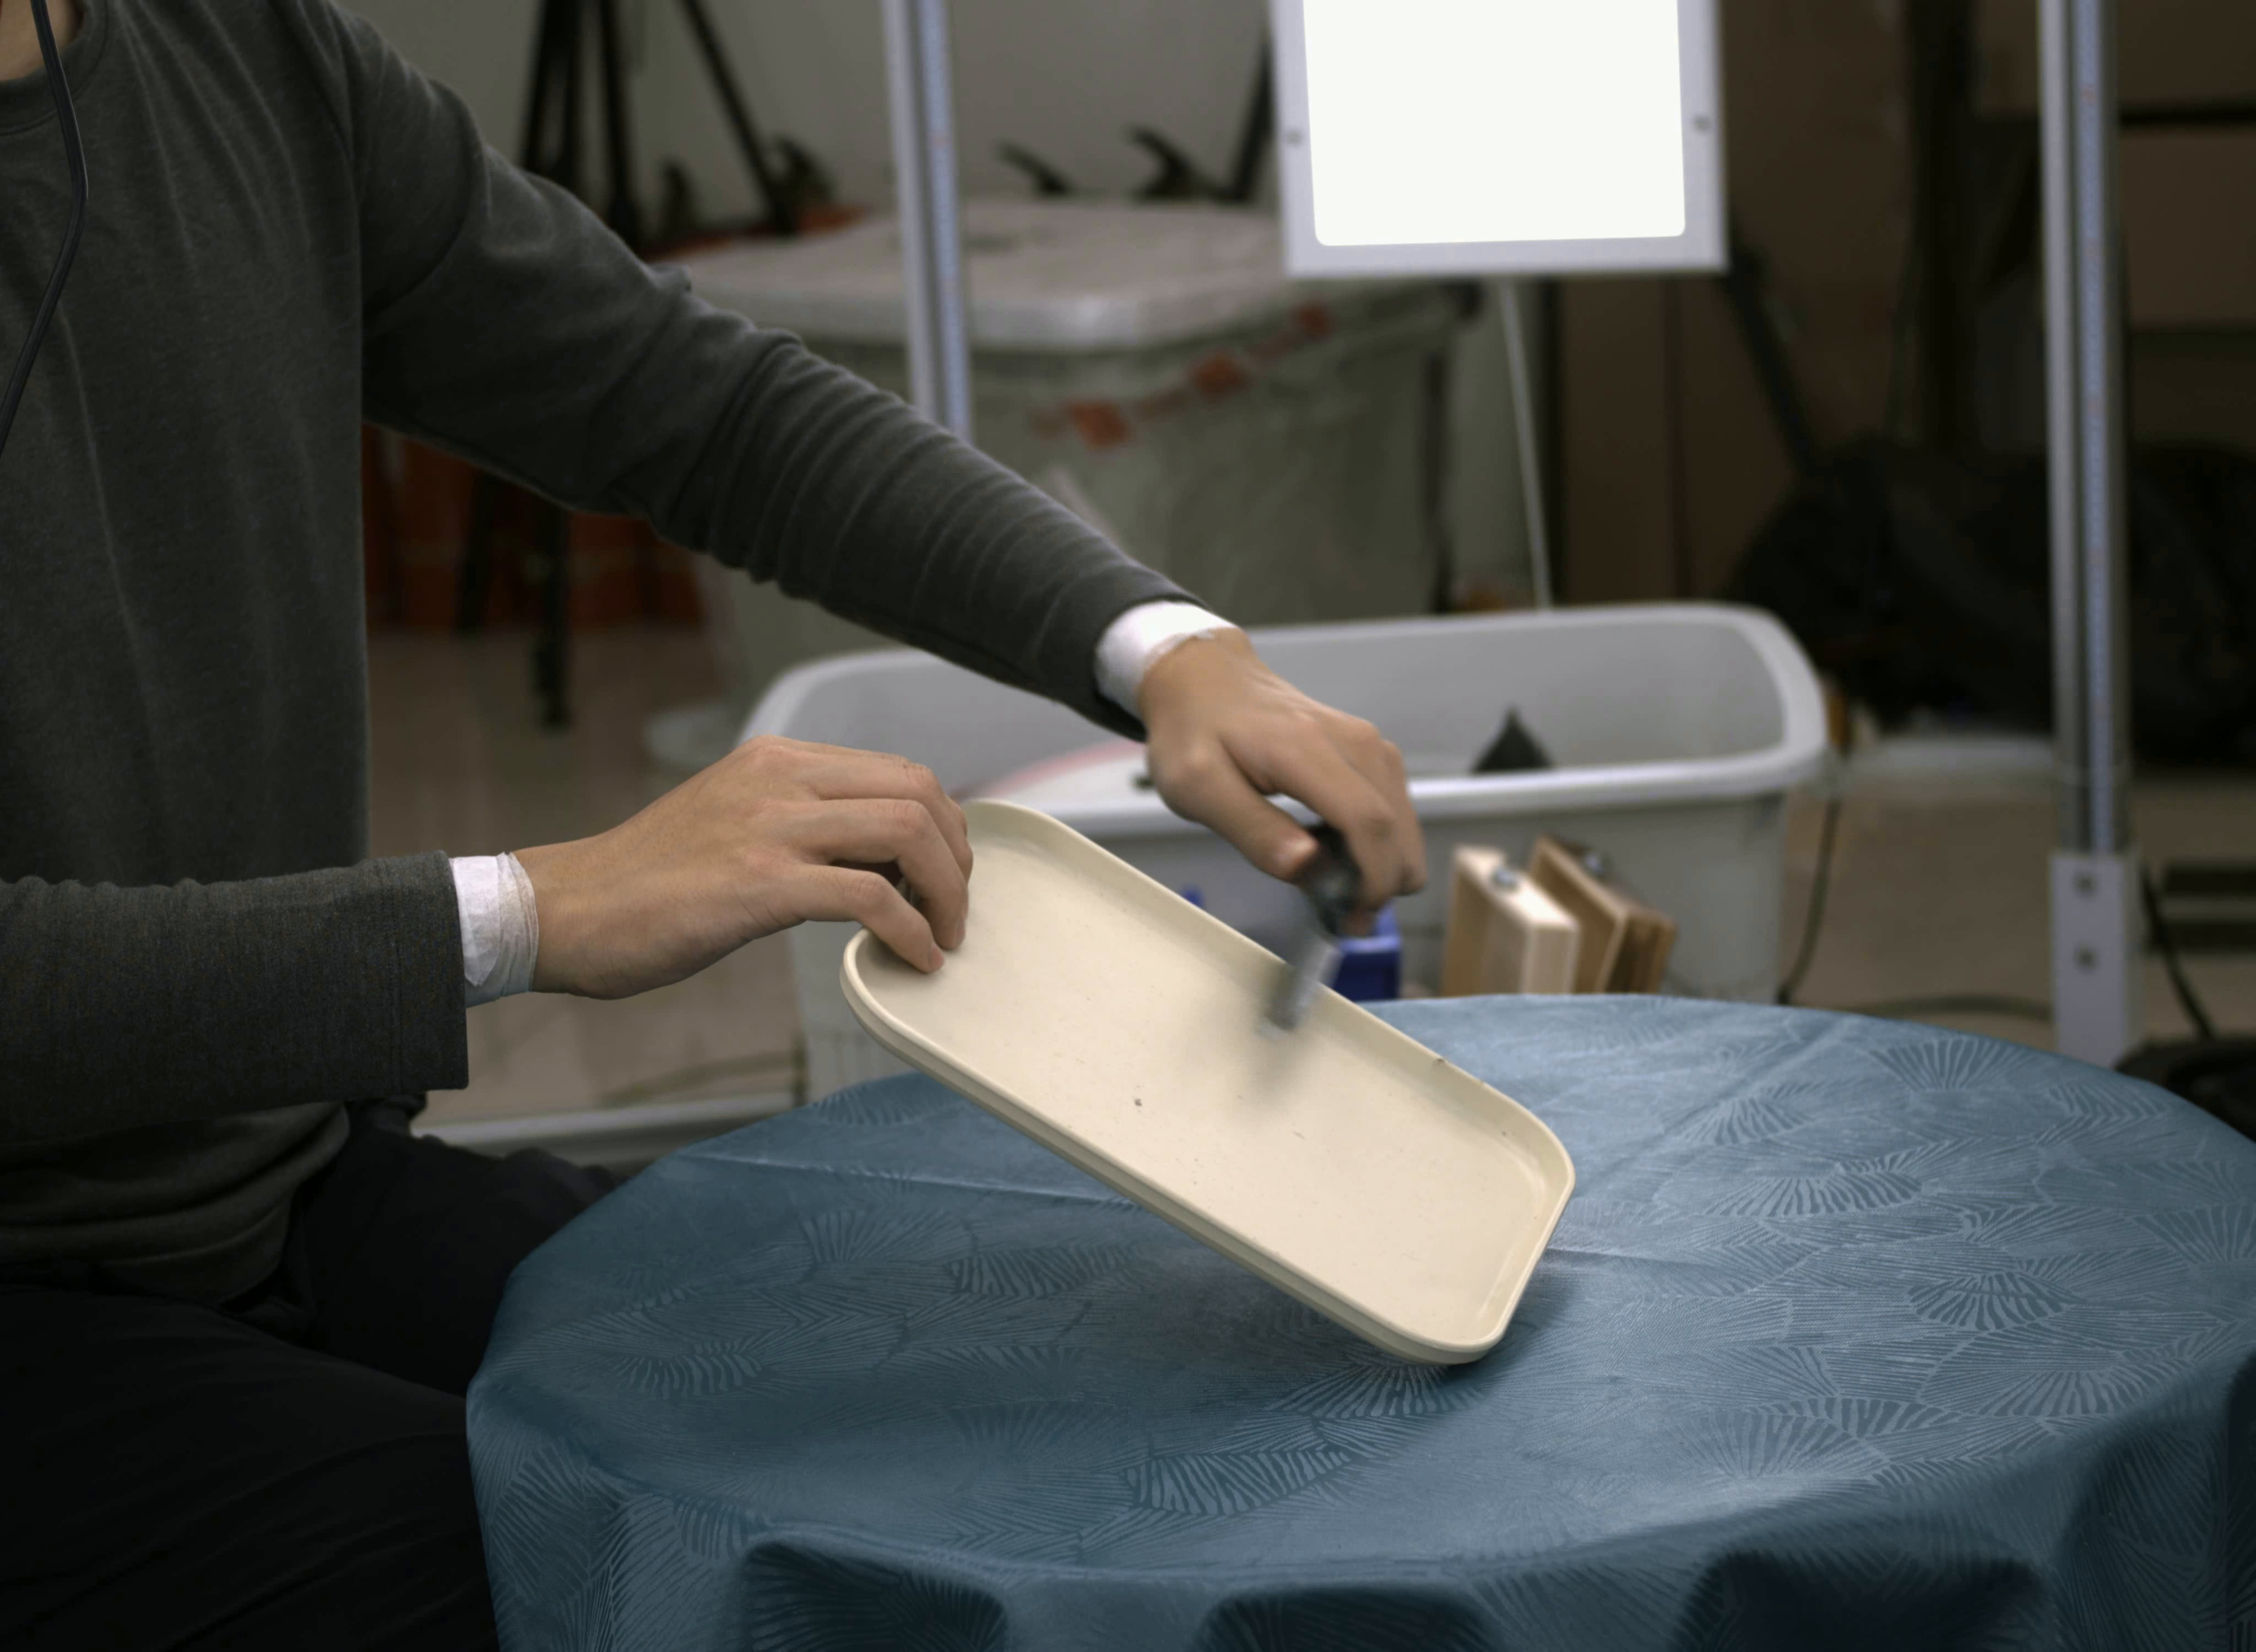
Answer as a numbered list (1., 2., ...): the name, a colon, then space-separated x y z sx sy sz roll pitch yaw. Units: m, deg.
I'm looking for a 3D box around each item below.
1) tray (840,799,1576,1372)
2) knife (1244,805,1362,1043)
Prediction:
1. tray: 0.027 0.082 1.763 0.240 0.018 0.168 31 29 5
2. knife: 0.057 0.032 1.864 0.024 0.016 0.235 33 19 -2
